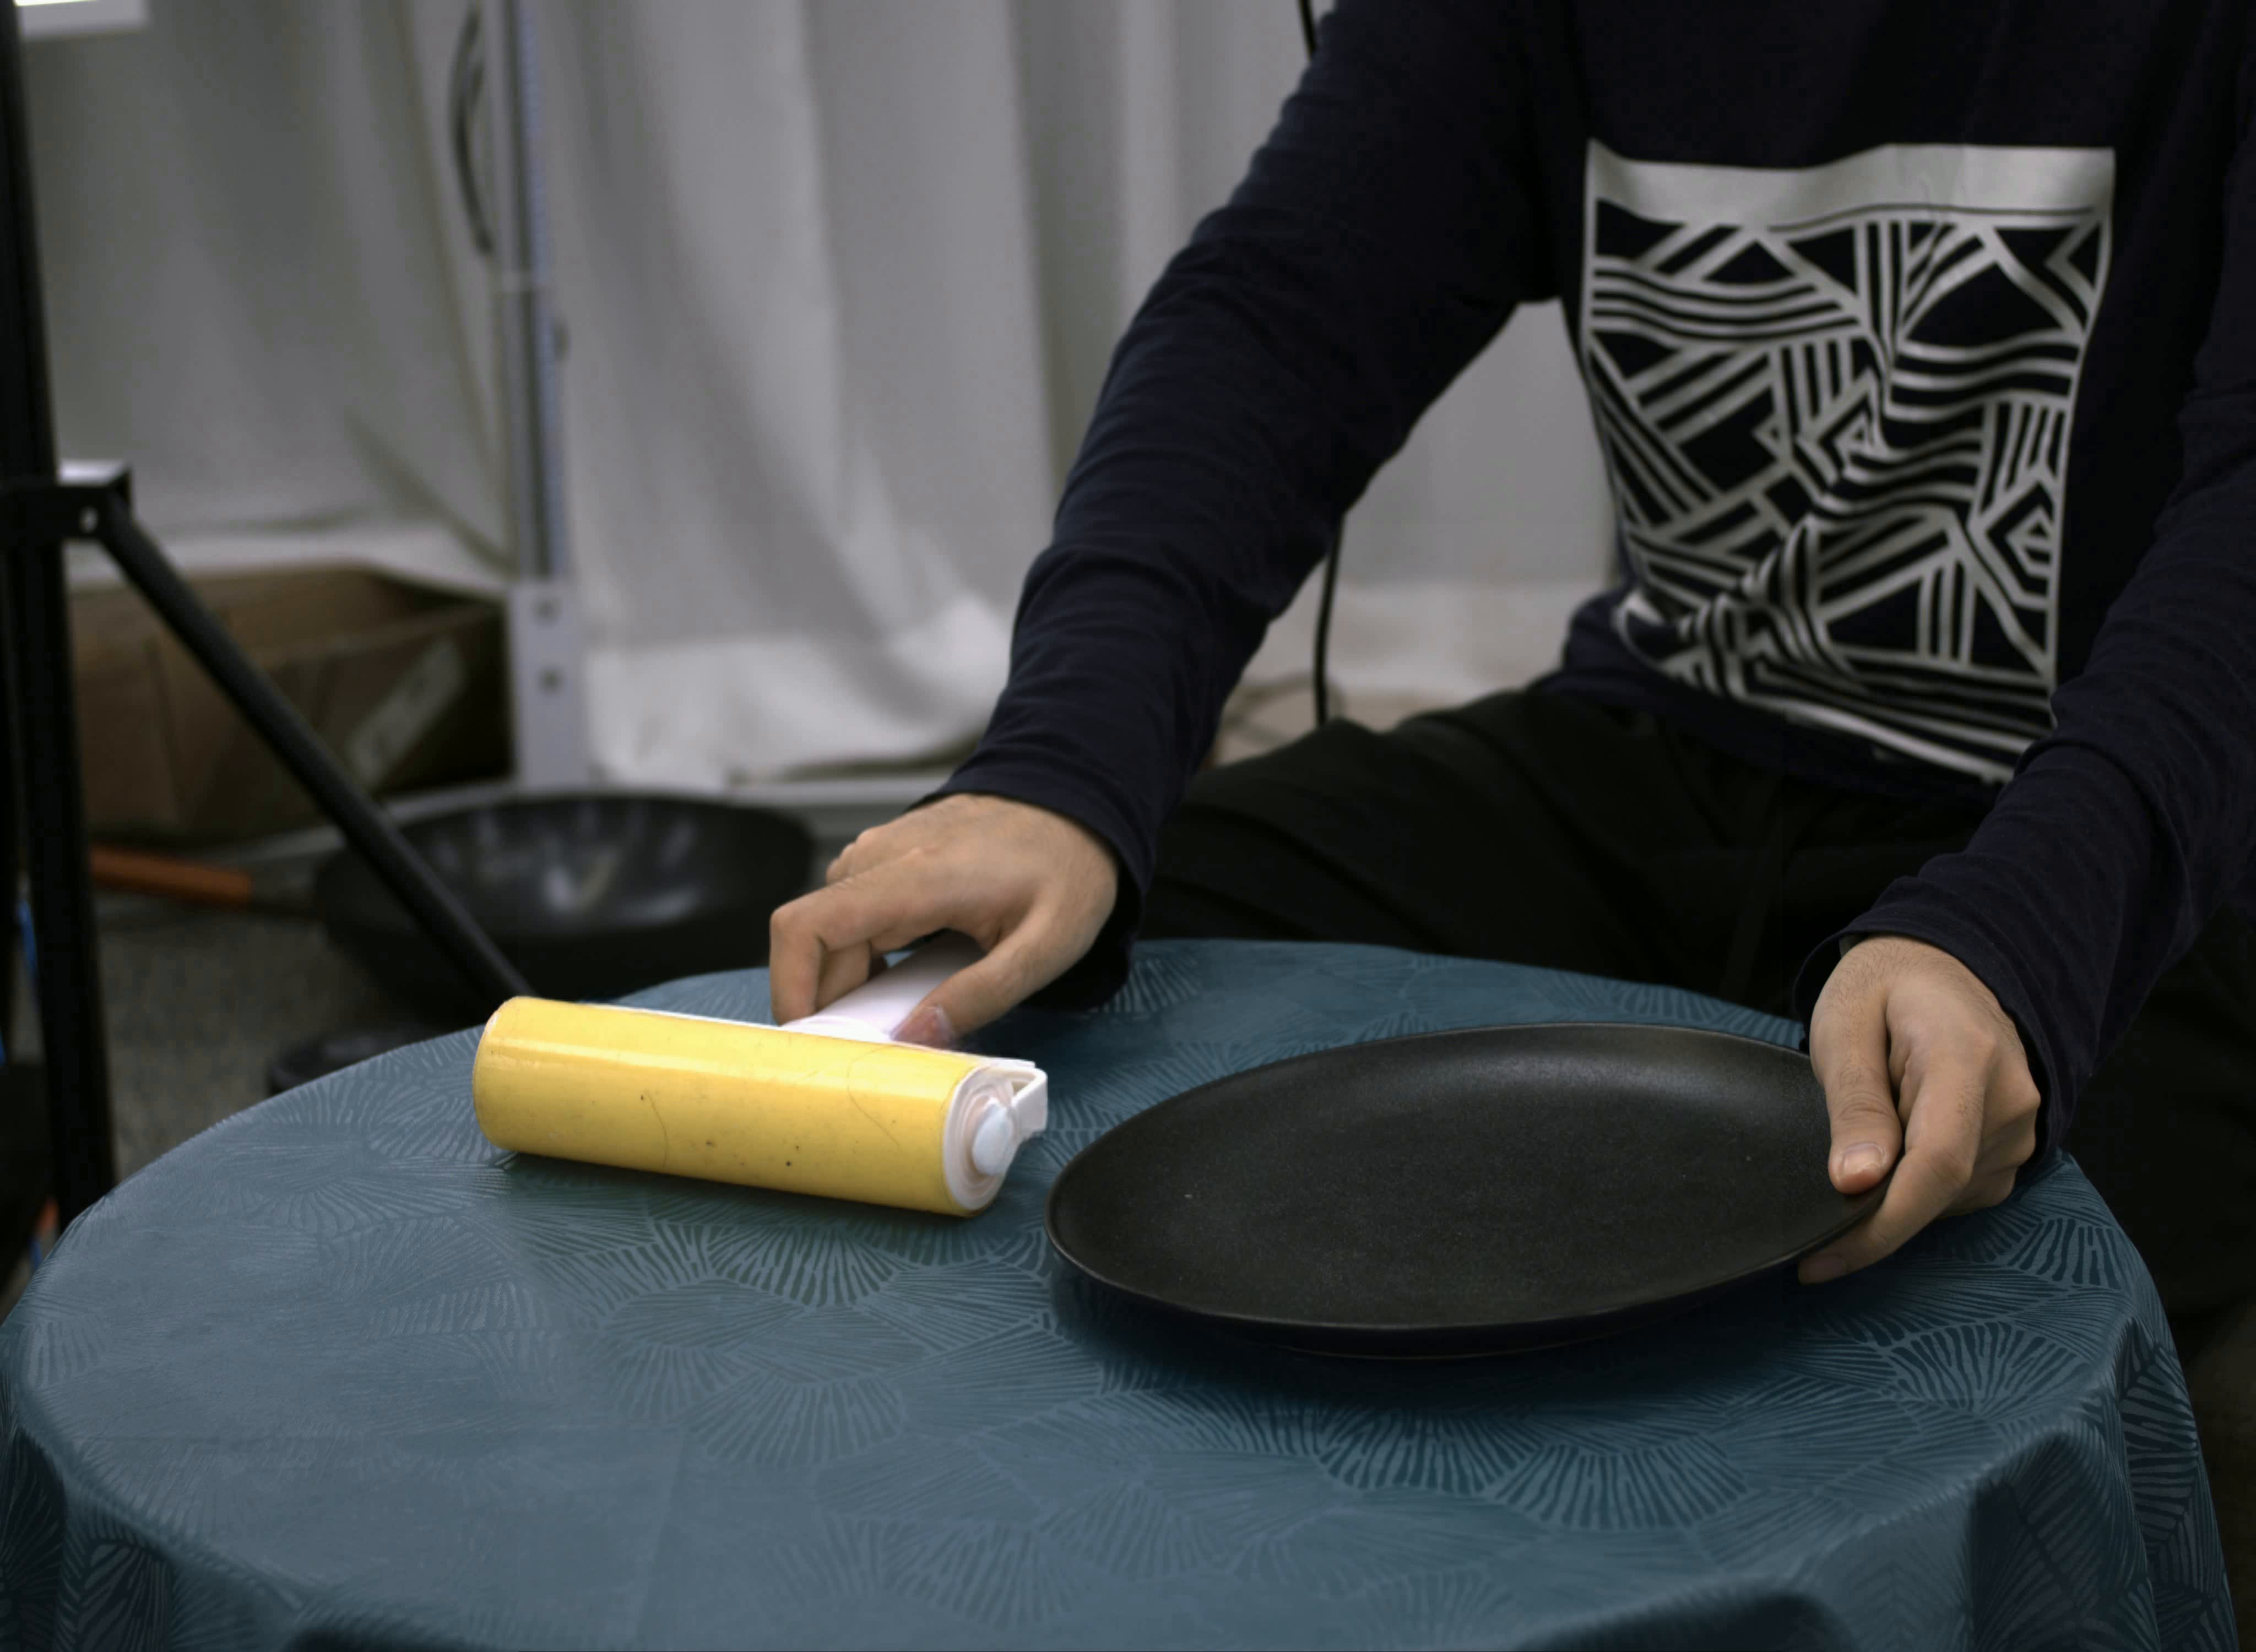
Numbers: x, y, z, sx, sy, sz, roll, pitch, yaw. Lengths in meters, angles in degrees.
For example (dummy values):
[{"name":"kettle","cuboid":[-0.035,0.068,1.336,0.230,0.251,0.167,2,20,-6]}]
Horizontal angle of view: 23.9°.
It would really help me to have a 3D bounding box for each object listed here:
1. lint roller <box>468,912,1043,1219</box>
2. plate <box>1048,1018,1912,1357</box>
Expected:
[{"name":"lint roller","cuboid":[-0.087,0.054,1.640,0.177,0.051,0.190,6,28,25]},{"name":"plate","cuboid":[0.099,0.105,1.490,0.243,0.023,0.245,-7,16,1]}]
